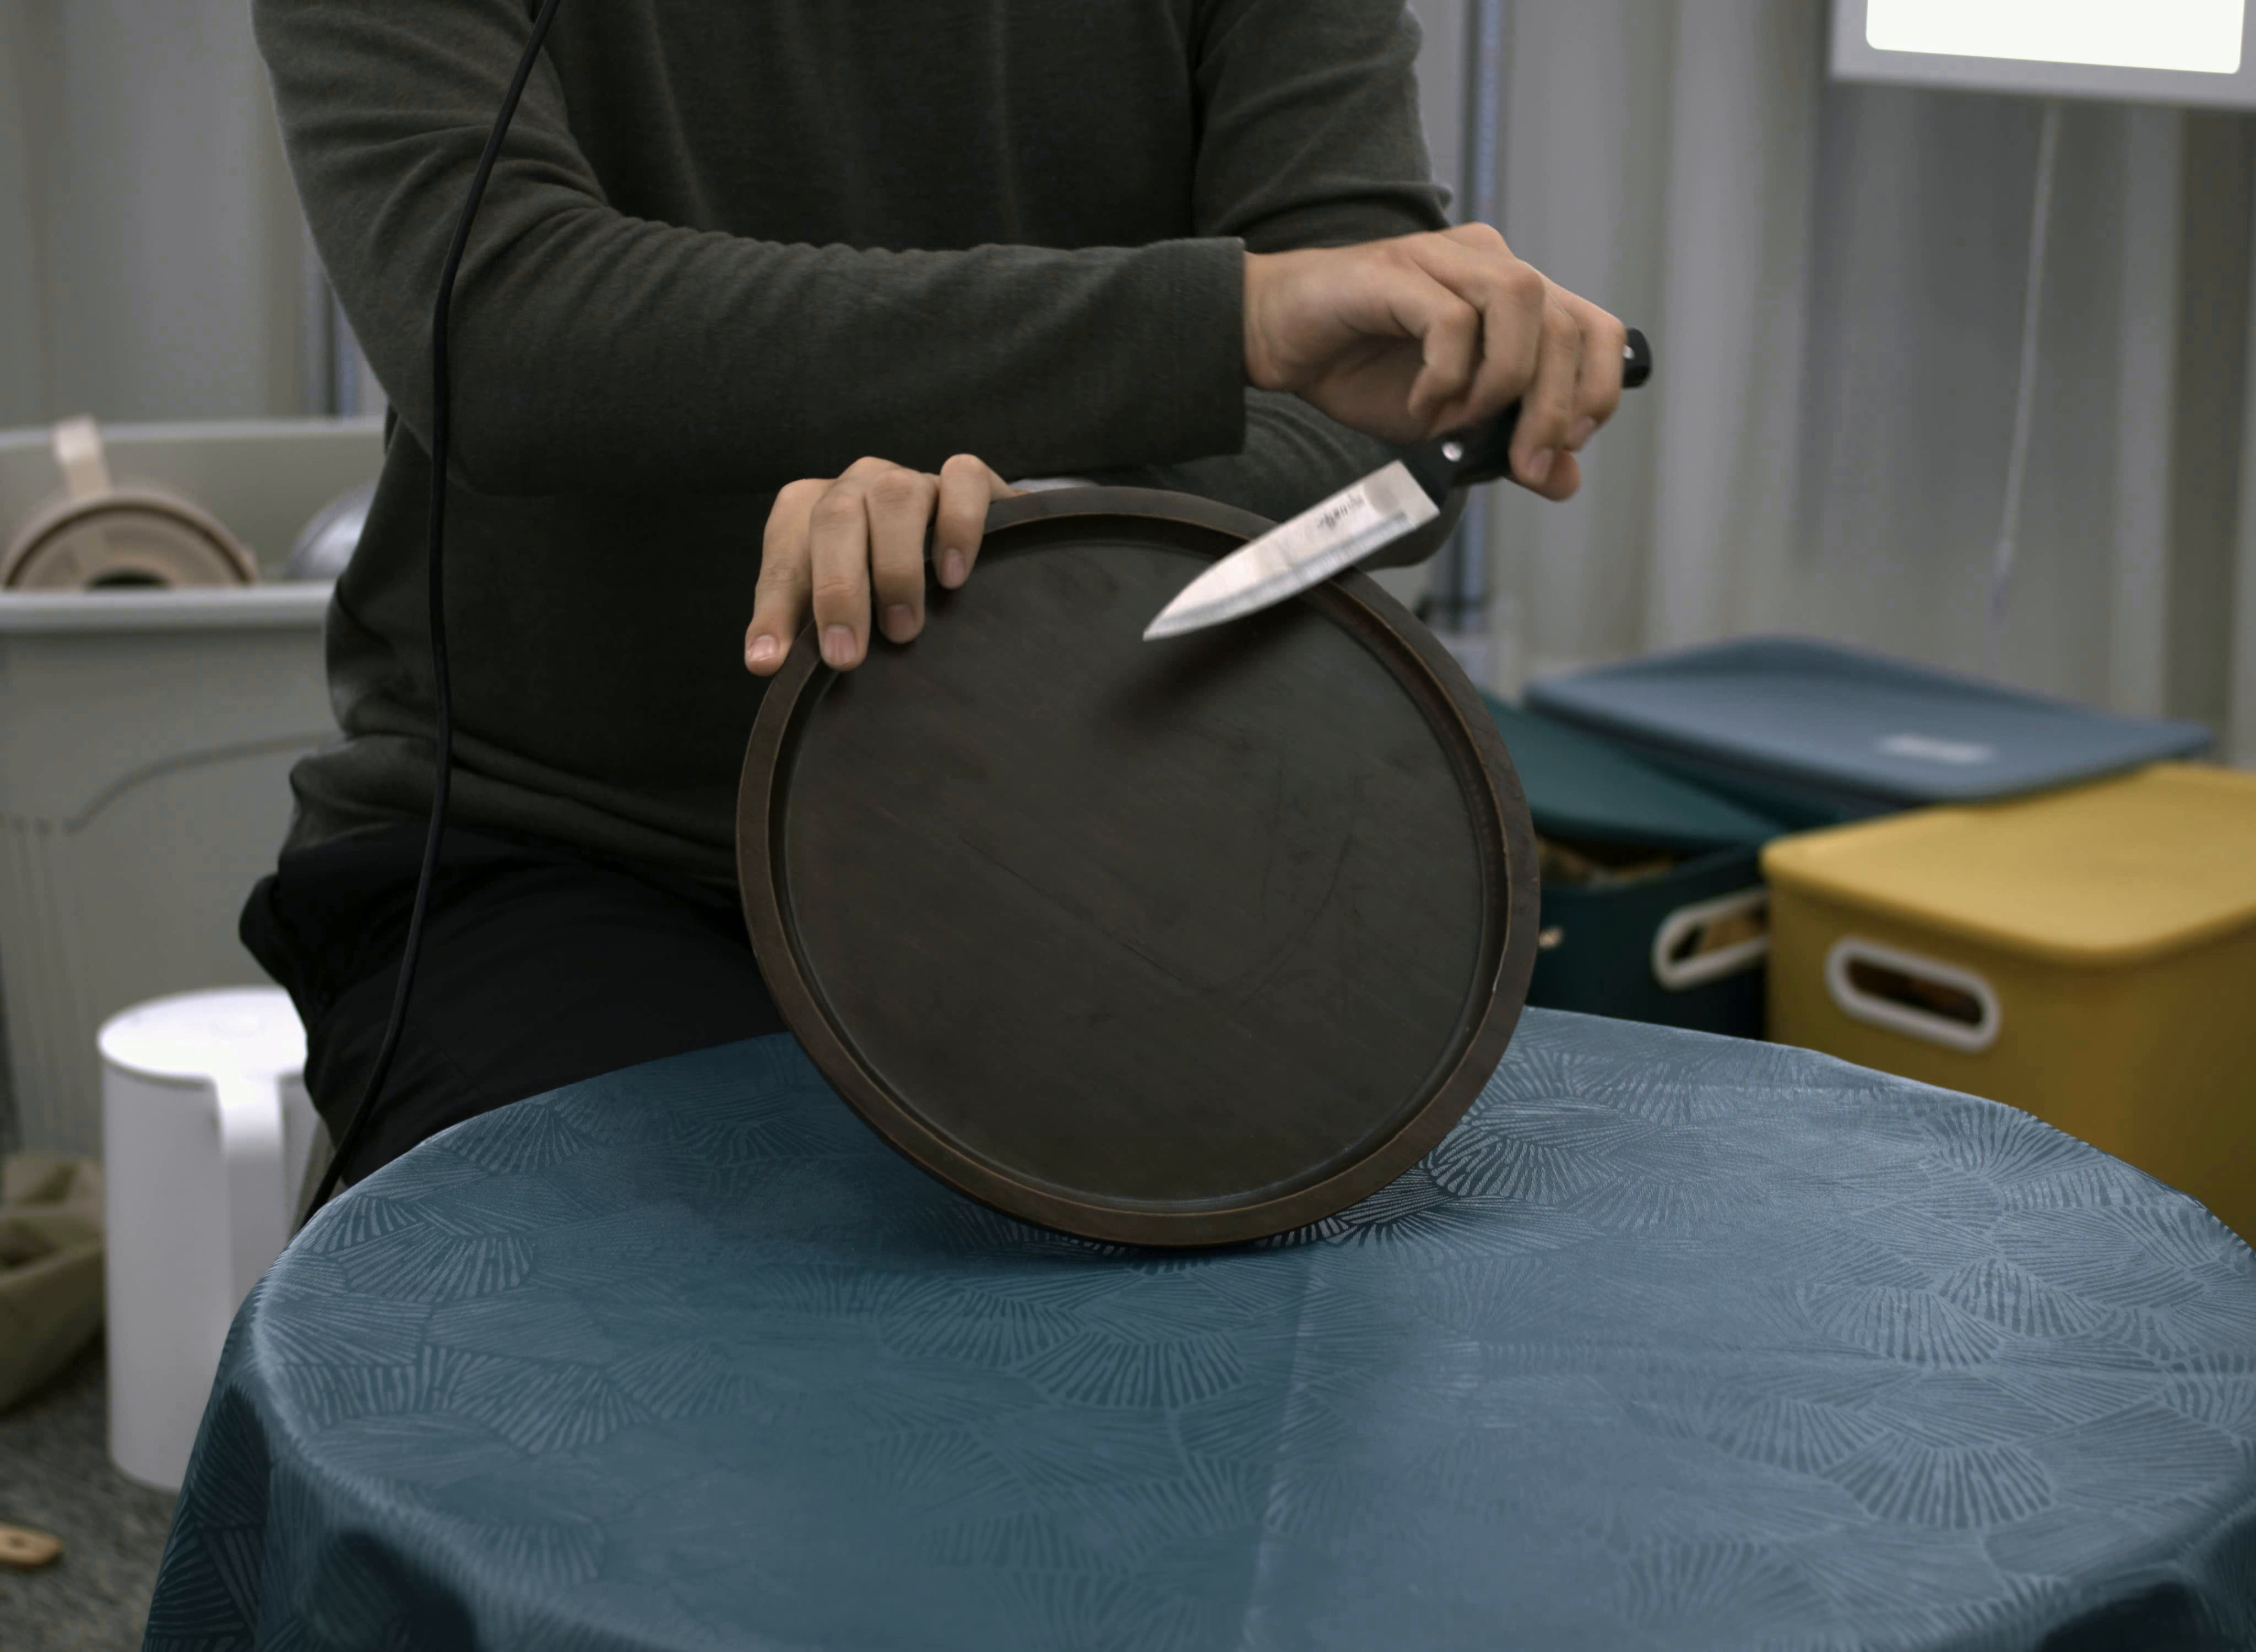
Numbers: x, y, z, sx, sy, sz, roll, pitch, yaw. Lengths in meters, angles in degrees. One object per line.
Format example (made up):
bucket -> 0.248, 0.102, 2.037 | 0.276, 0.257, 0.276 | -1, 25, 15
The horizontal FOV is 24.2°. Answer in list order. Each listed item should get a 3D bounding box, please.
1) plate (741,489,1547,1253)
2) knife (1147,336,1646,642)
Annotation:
plate -> 0.005, 0.012, 1.618 | 0.255, 0.253, 0.029 | -4, -21, -17
knife -> 0.085, -0.108, 1.674 | 0.238, 0.024, 0.016 | -31, -2, -38
